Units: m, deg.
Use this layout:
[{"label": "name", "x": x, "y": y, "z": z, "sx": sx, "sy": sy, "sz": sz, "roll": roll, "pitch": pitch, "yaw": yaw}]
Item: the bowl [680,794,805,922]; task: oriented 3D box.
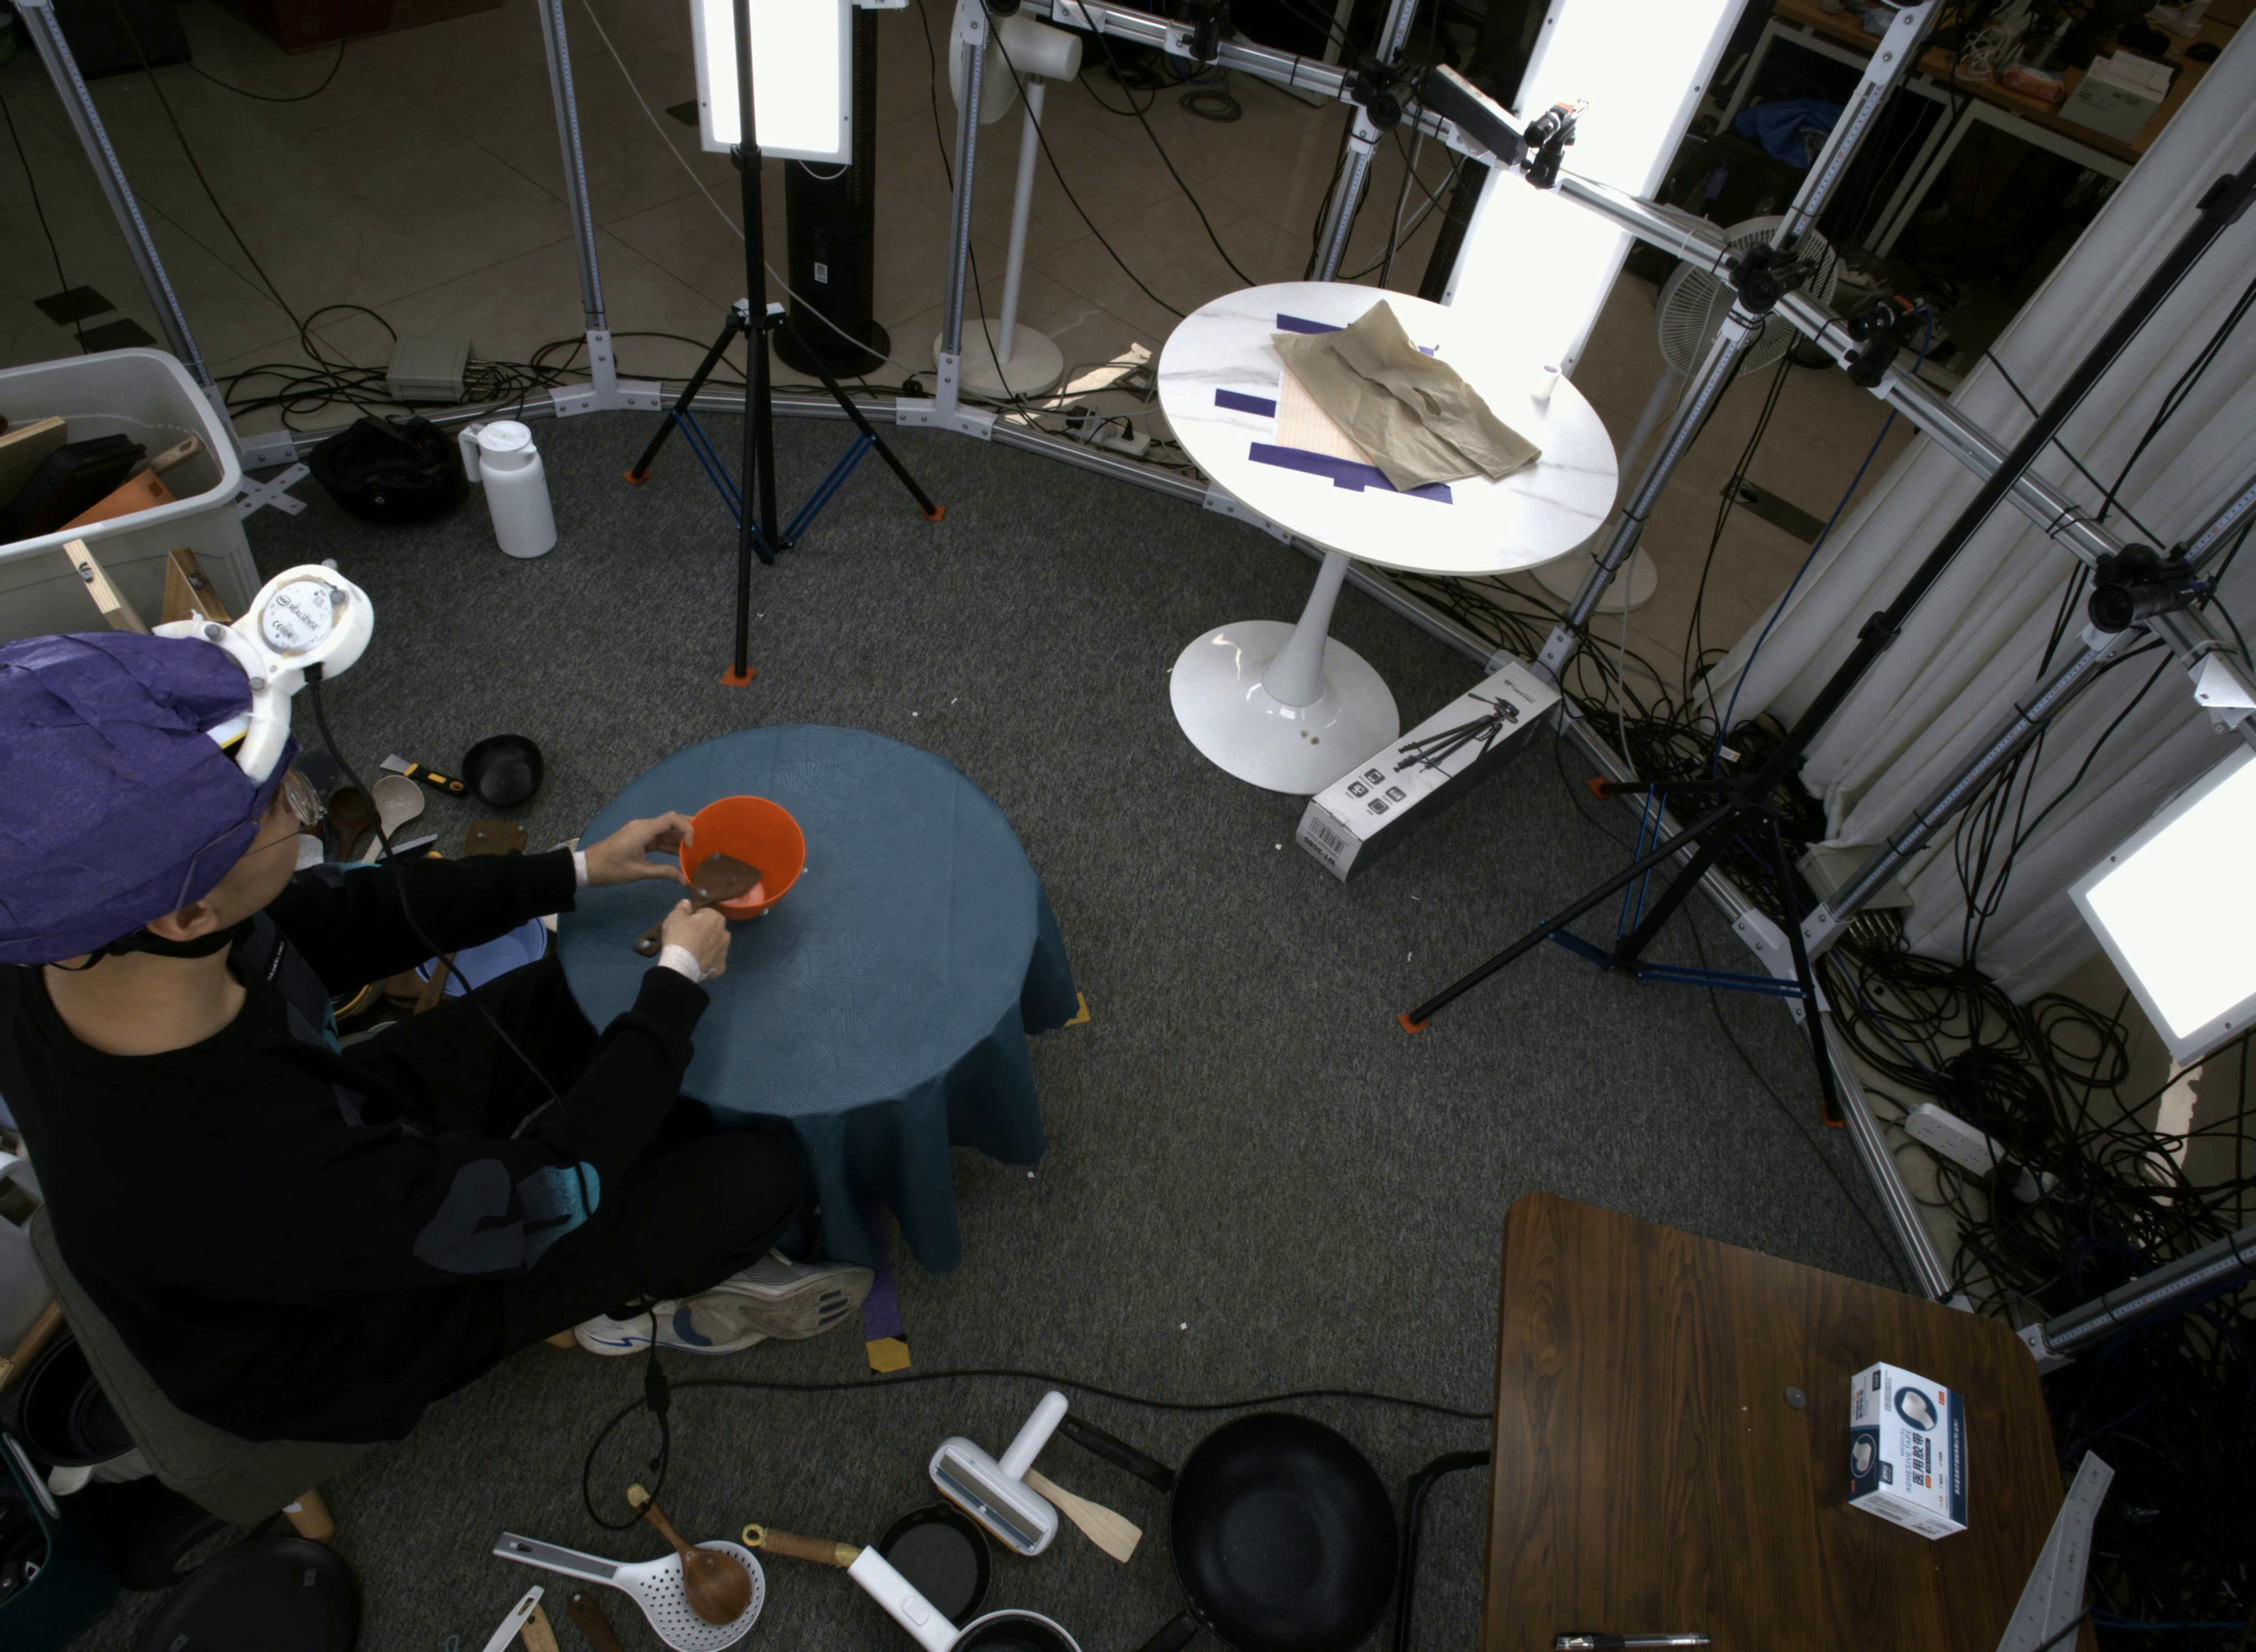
[{"label": "bowl", "x": -0.475, "y": 0.051, "z": 1.593, "sx": 0.148, "sy": 0.106, "sz": 0.145, "roll": 10, "pitch": 55, "yaw": -12}]

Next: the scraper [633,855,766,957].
[{"label": "scraper", "x": -0.502, "y": 0.091, "z": 1.492, "sx": 0.074, "sy": 0.011, "sz": 0.210, "roll": 24, "pitch": 31, "yaw": 7}]
